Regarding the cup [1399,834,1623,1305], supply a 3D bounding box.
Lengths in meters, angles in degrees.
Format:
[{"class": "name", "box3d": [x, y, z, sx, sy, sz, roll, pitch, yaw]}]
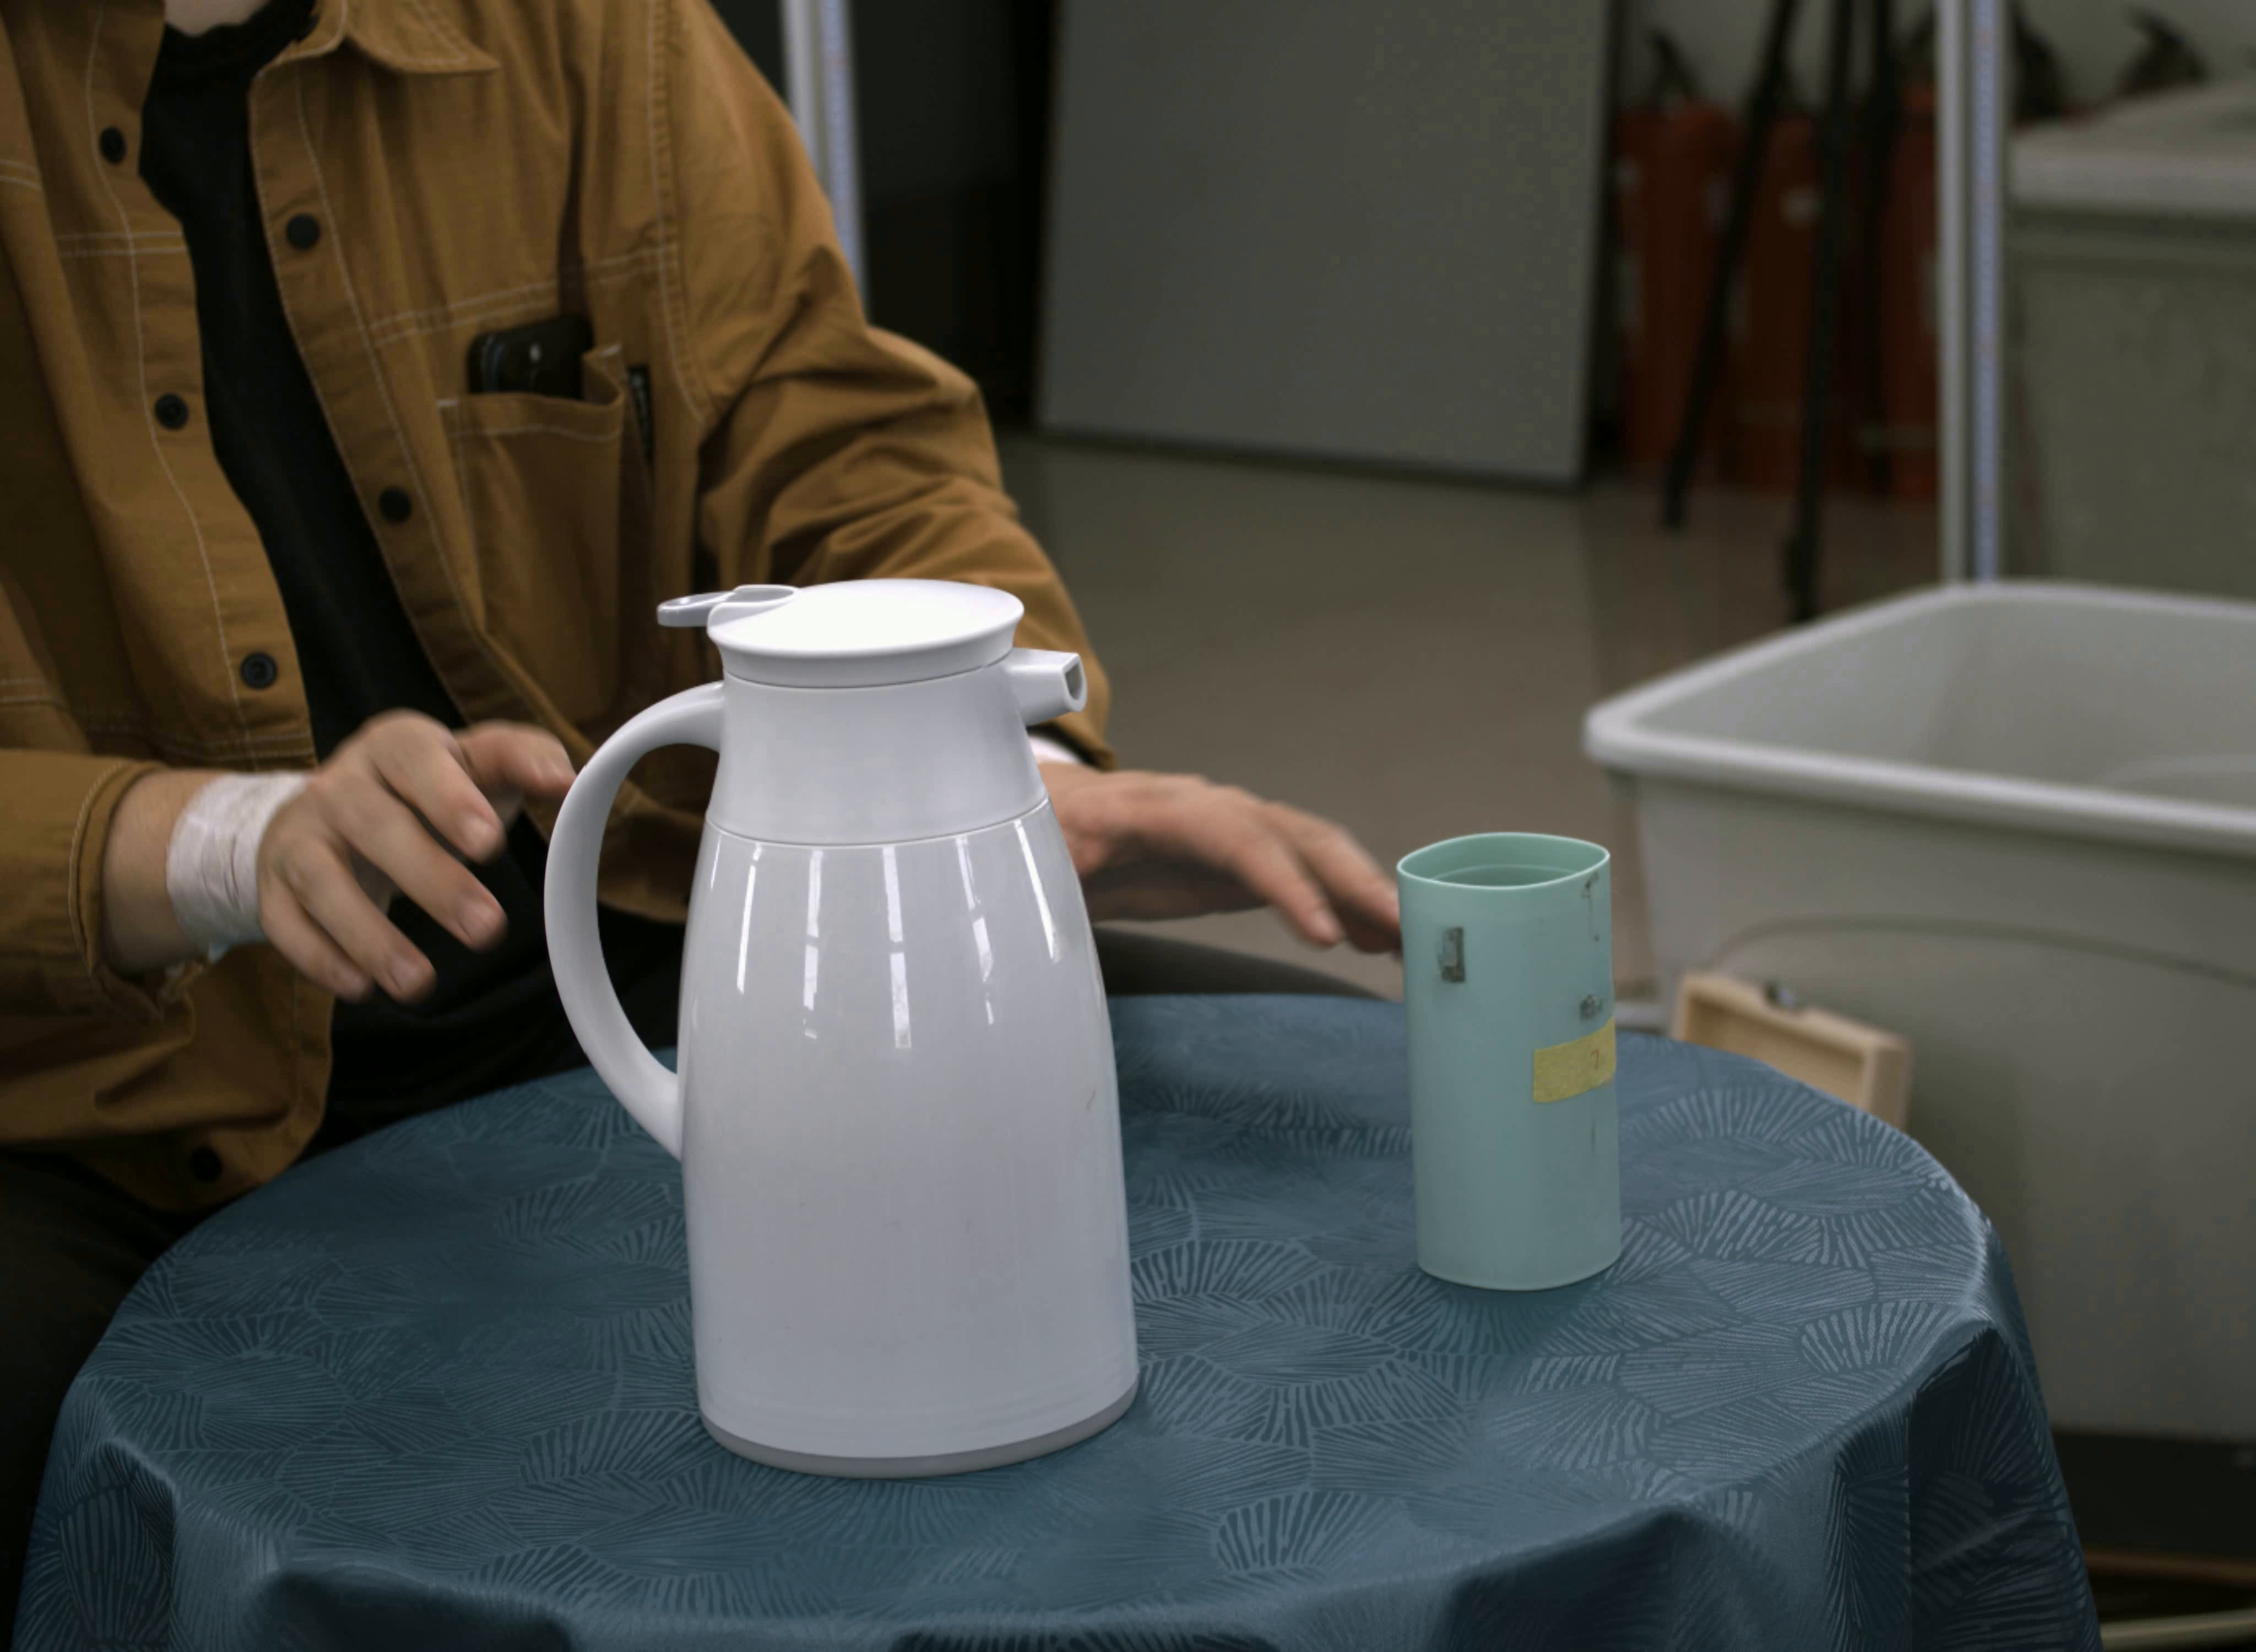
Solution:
[{"class": "cup", "box3d": [0.118, 0.074, 1.667, 0.066, 0.134, 0.067, -3, 13, 0]}]

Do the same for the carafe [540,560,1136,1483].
[{"class": "carafe", "box3d": [-0.088, 0.050, 1.570, 0.167, 0.251, 0.131, -1, 14, 16]}]
